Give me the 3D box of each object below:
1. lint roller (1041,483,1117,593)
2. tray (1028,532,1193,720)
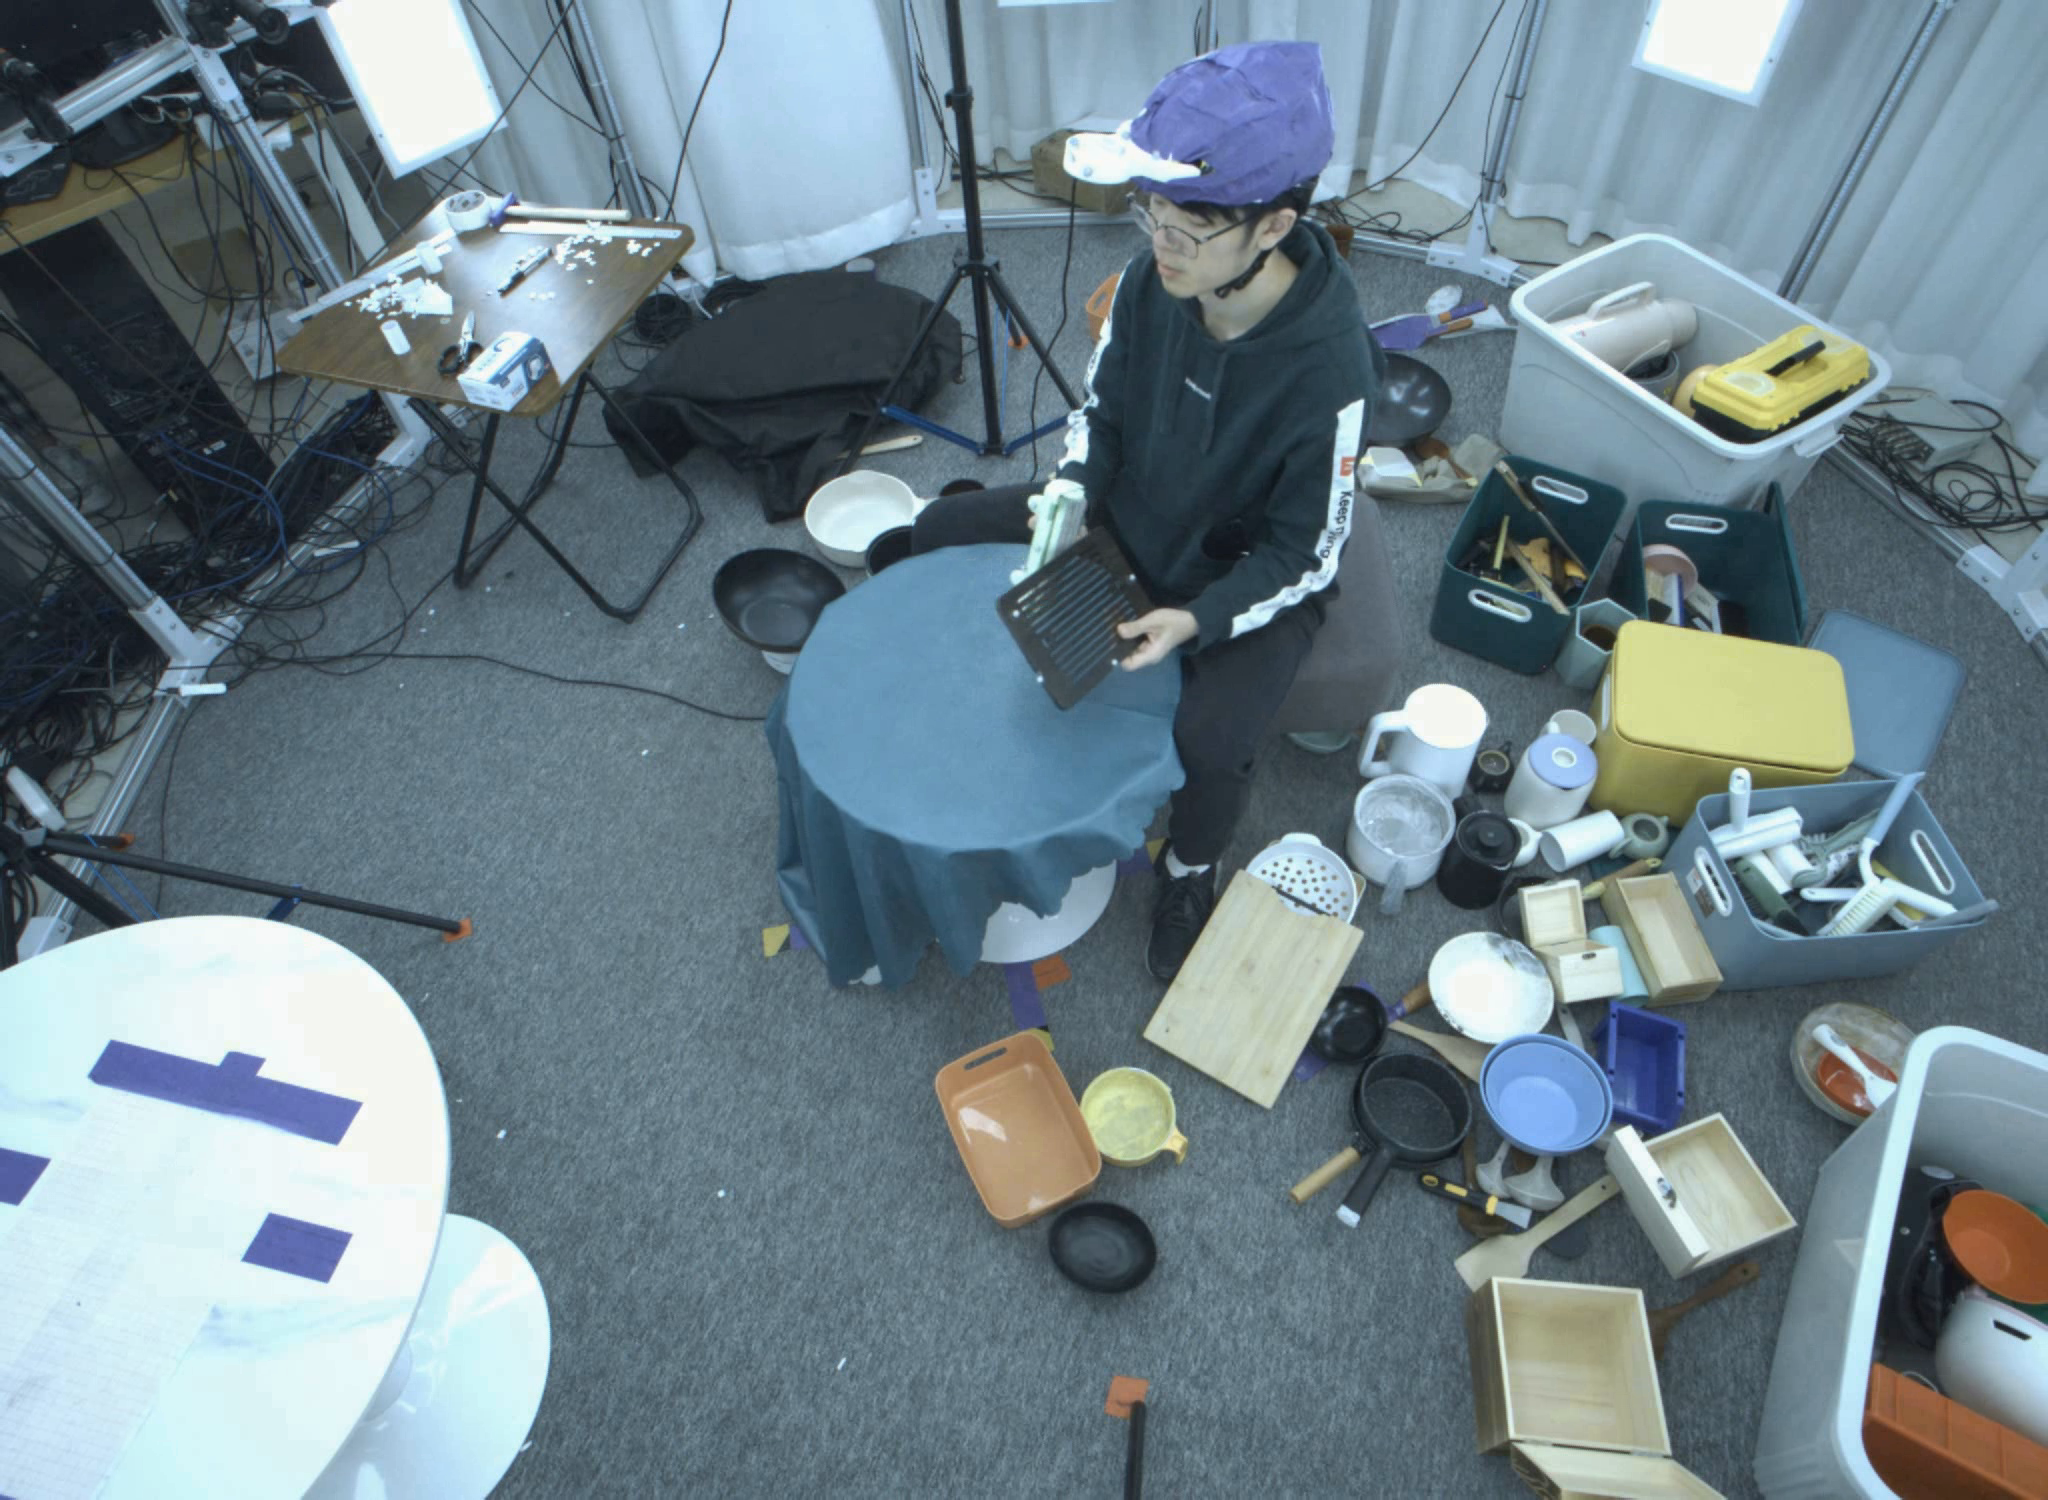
[{"bbox_3d":[0.083,-0.301,1.743,0.082,0.199,0.182,16,33,1],"label":"lint roller"},{"bbox_3d":[0.121,-0.173,1.658,0.308,0.018,0.171,-42,105,-47],"label":"tray"}]
